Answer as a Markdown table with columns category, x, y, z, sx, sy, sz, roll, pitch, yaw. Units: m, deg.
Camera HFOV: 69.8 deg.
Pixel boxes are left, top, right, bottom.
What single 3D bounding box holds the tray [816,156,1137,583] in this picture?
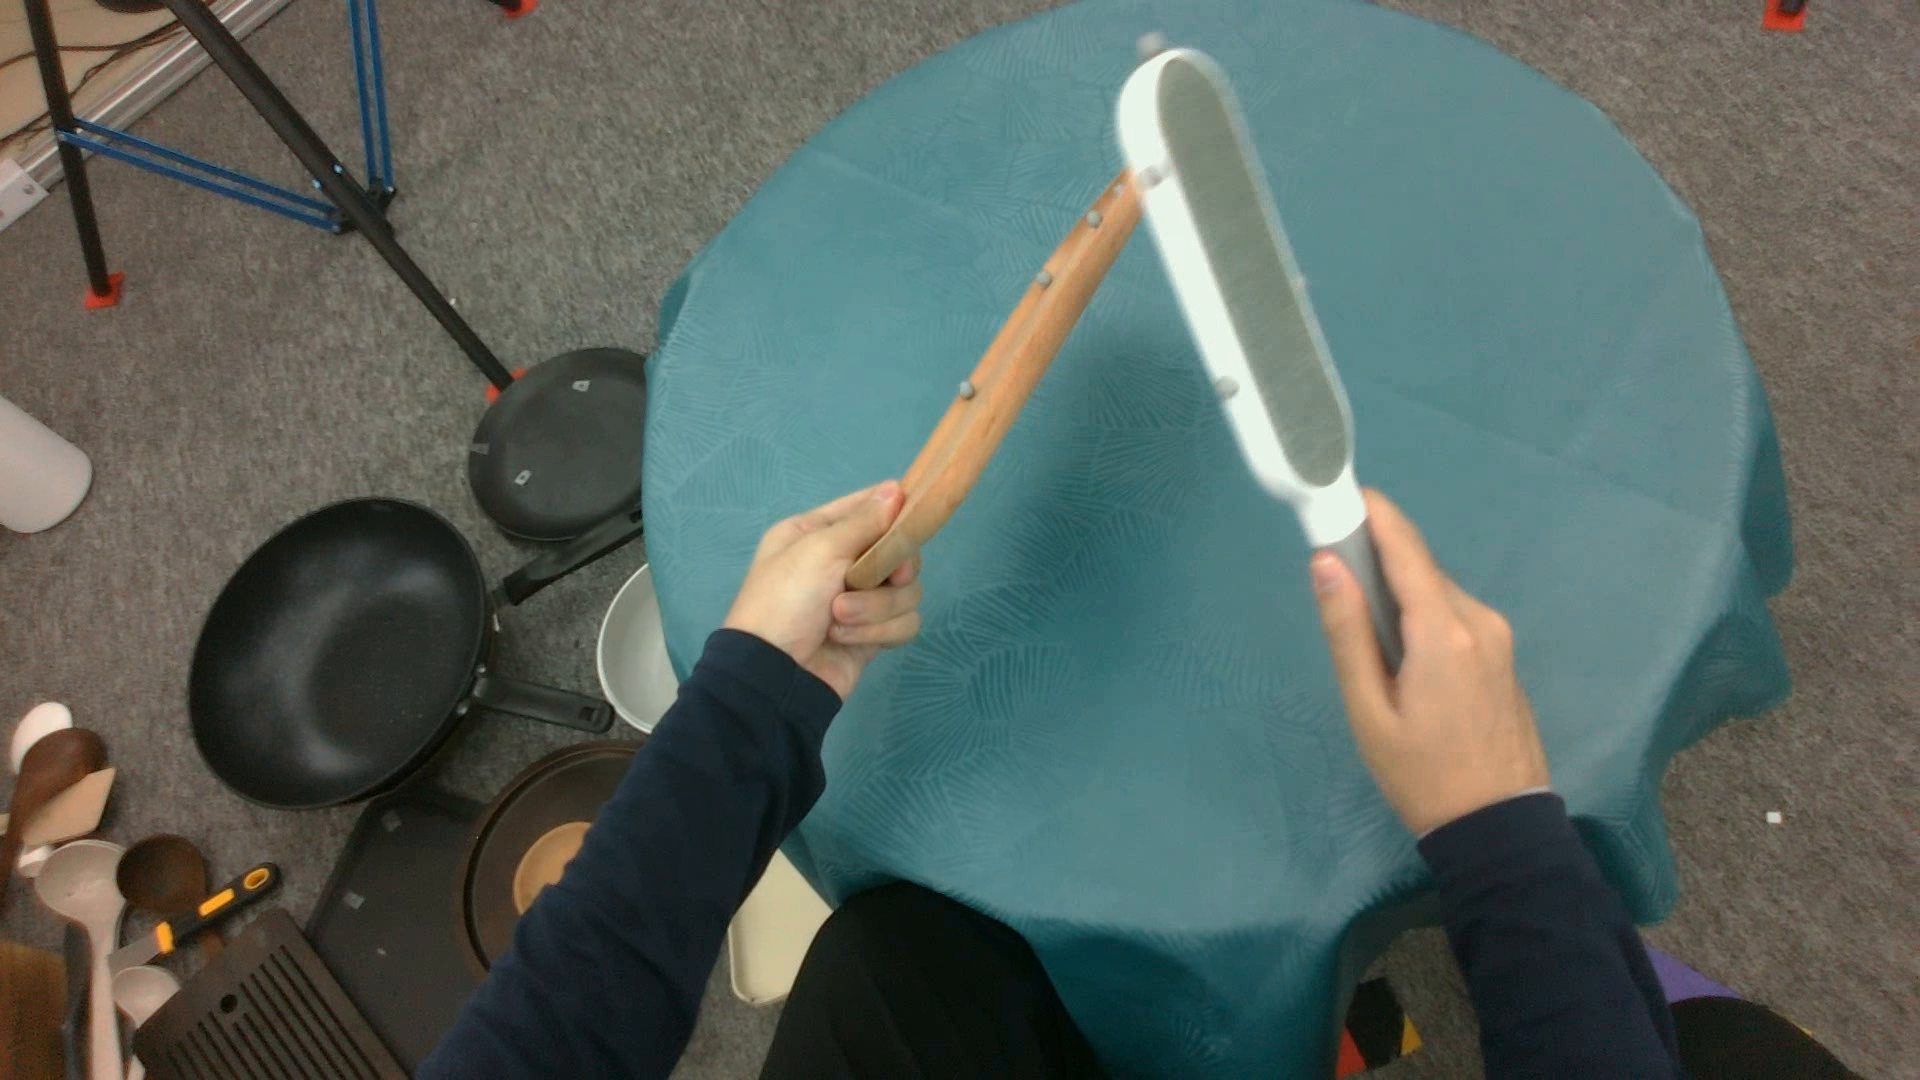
| category | x | y | z | sx | sy | sz | roll | pitch | yaw |
| --- | --- | --- | --- | --- | --- | --- | --- | --- | --- |
| tray | 0.016 | -0.086 | 0.638 | 0.023 | 0.130 | 0.252 | 35 | 62 | -6 |

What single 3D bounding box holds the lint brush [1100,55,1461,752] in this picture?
| category | x | y | z | sx | sy | sz | roll | pitch | yaw |
| --- | --- | --- | --- | --- | --- | --- | --- | --- | --- |
| lint brush | 0.132 | -0.047 | 0.549 | 0.021 | 0.308 | 0.060 | -18 | 14 | 43 |
